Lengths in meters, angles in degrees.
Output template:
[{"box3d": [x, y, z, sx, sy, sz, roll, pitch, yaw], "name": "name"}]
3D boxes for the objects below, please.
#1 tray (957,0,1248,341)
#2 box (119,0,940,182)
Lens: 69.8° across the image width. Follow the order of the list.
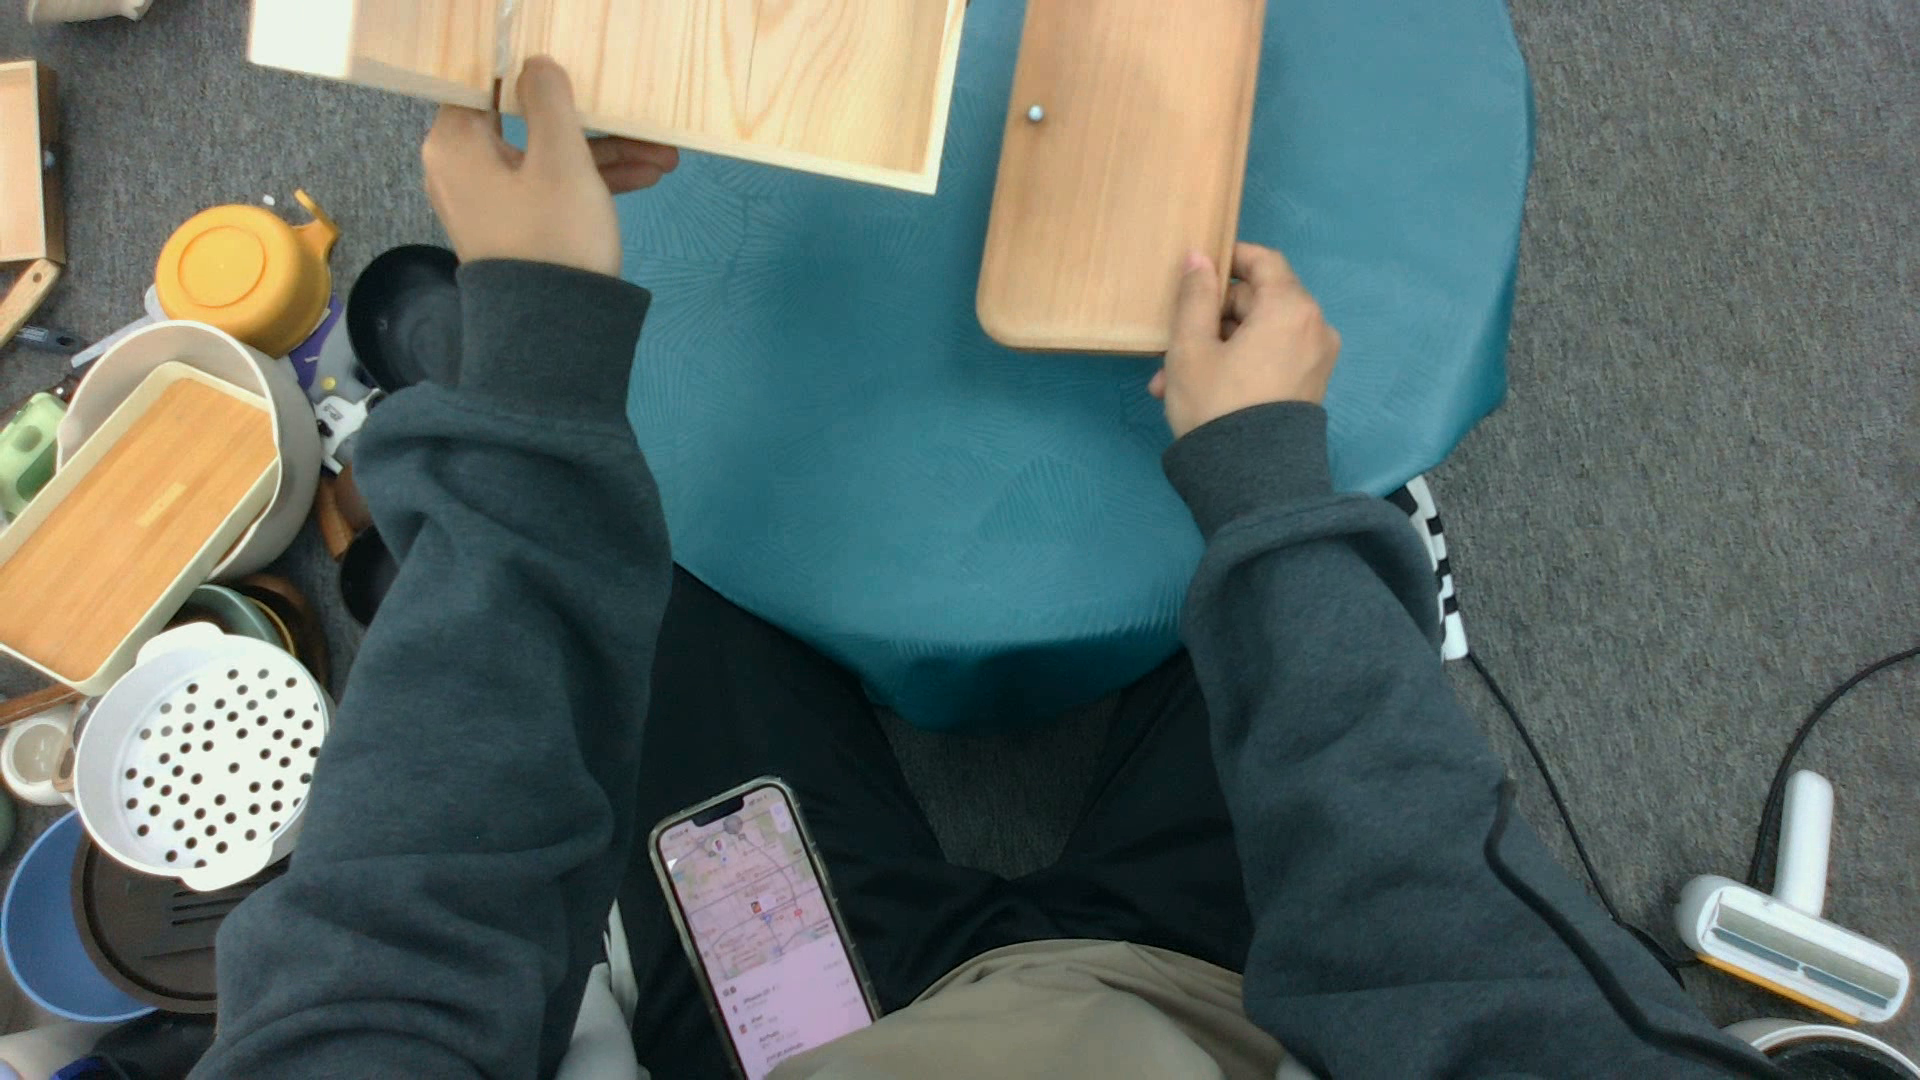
[{"box3d": [0.076, -0.217, 0.705, 0.130, 0.023, 0.251, 4, 75, 23], "name": "tray"}, {"box3d": [-0.117, -0.241, 0.505, 0.265, 0.253, 0.181, 6, 105, -14], "name": "box"}]
